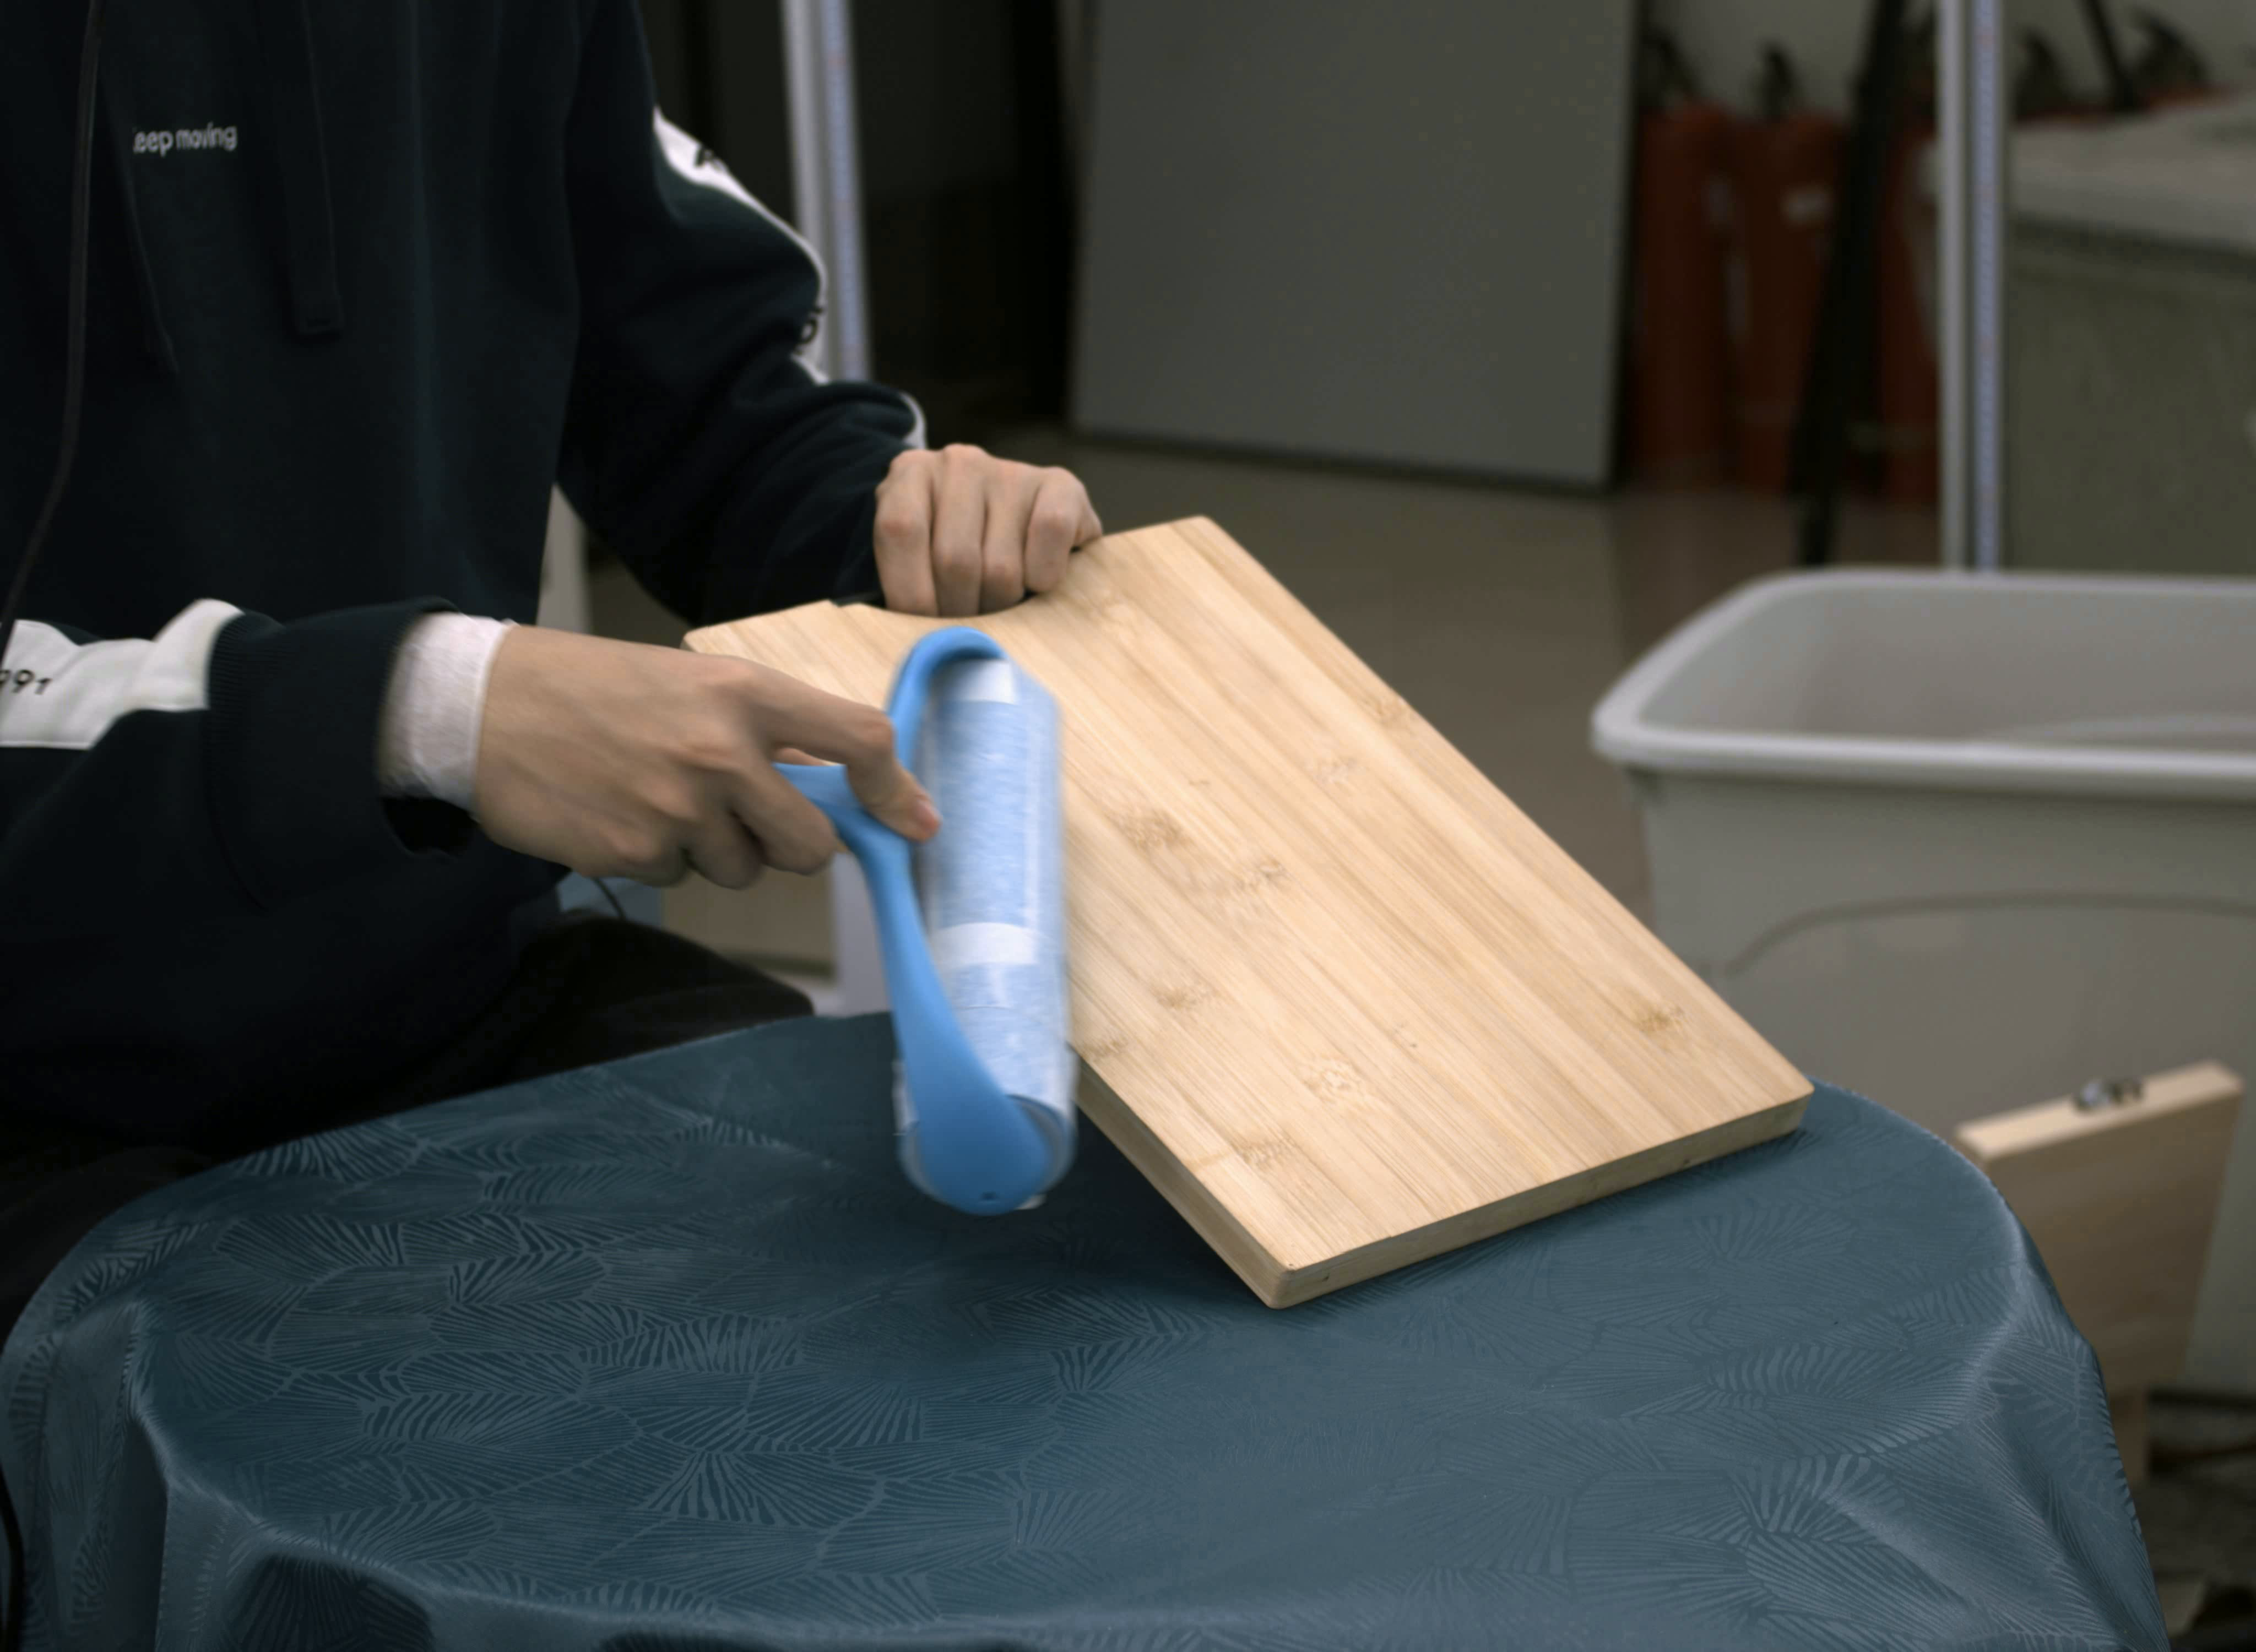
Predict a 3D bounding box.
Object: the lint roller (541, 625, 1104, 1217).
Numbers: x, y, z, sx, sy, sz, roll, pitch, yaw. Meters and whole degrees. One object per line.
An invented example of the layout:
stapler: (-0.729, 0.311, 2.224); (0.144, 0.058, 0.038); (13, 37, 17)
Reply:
lint roller: (-0.089, 0.012, 1.679); (0.177, 0.068, 0.231); (19, 41, -22)

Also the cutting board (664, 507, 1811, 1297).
cutting board: (0.034, 0.016, 1.812); (0.245, 0.024, 0.352); (-15, 46, -38)
